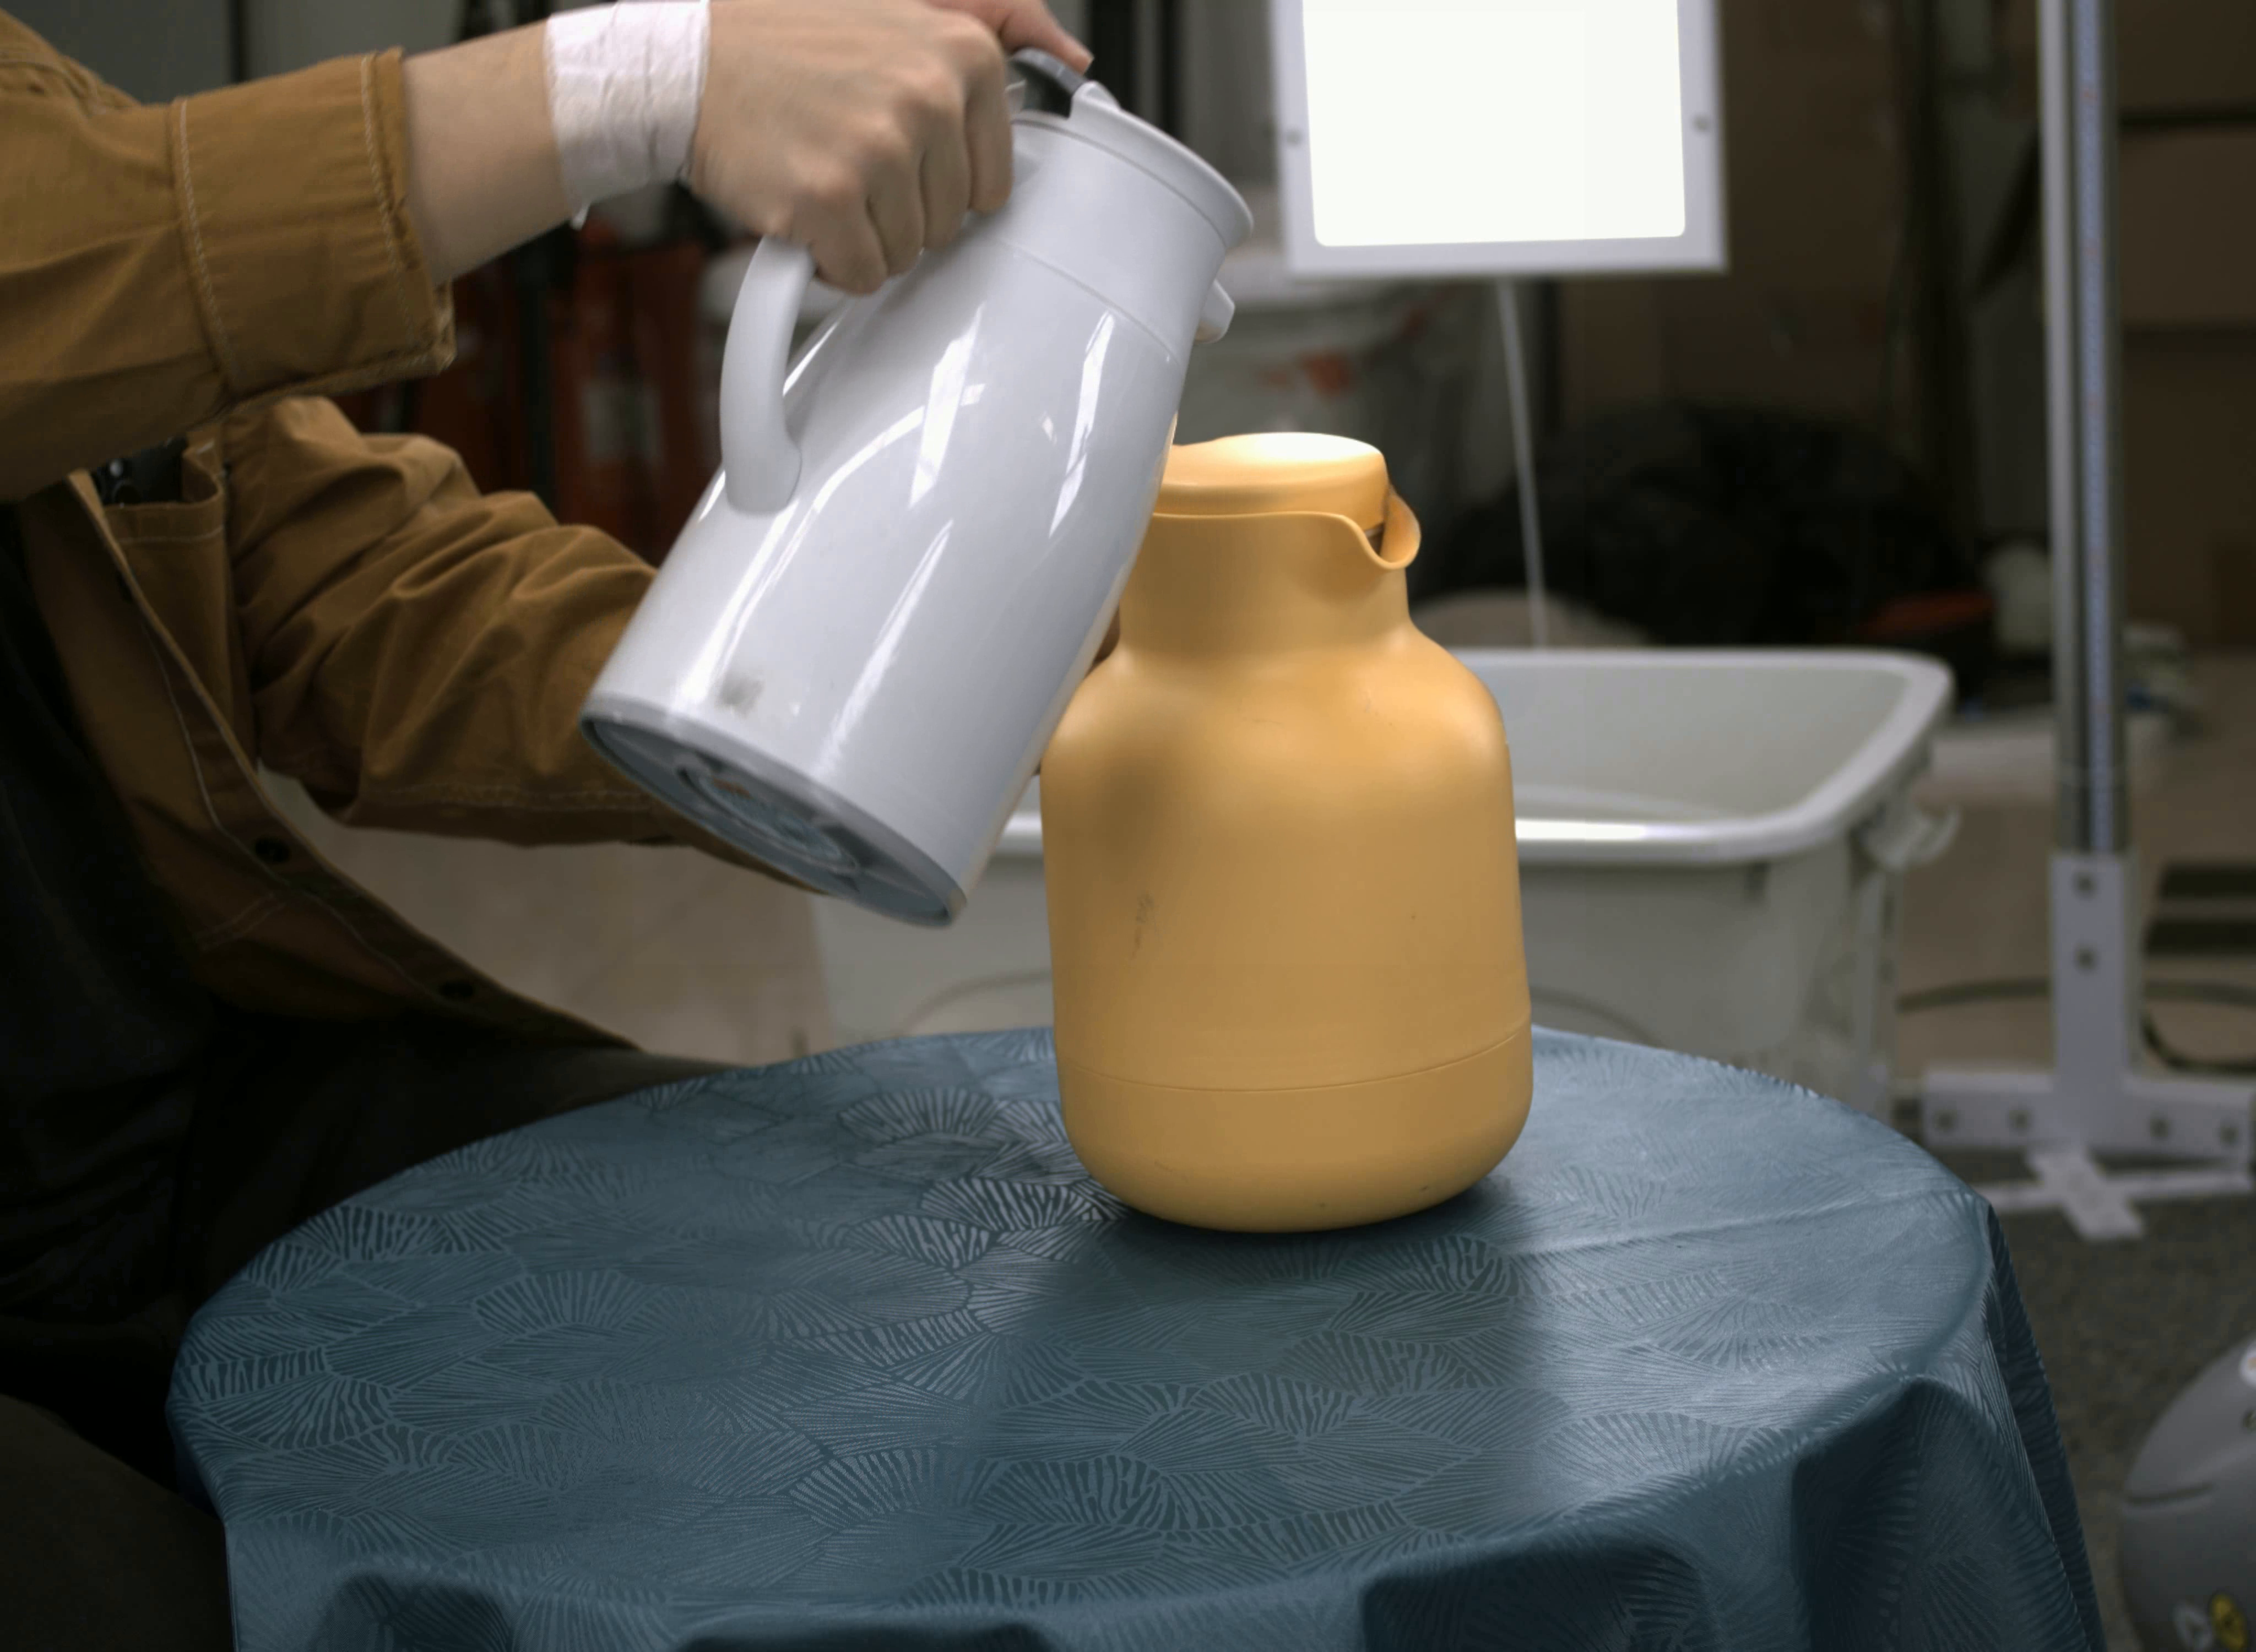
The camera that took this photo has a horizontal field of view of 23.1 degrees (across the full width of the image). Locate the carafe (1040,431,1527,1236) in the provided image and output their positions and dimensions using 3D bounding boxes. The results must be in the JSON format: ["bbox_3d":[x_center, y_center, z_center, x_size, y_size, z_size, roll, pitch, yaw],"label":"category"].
[{"bbox_3d":[0.041,-0.005,1.876,0.159,0.261,0.206,-12,17,-32],"label":"carafe"}]

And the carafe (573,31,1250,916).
[{"bbox_3d":[-0.065,-0.120,1.690,0.135,0.247,0.165,17,-15,46],"label":"carafe"}]
